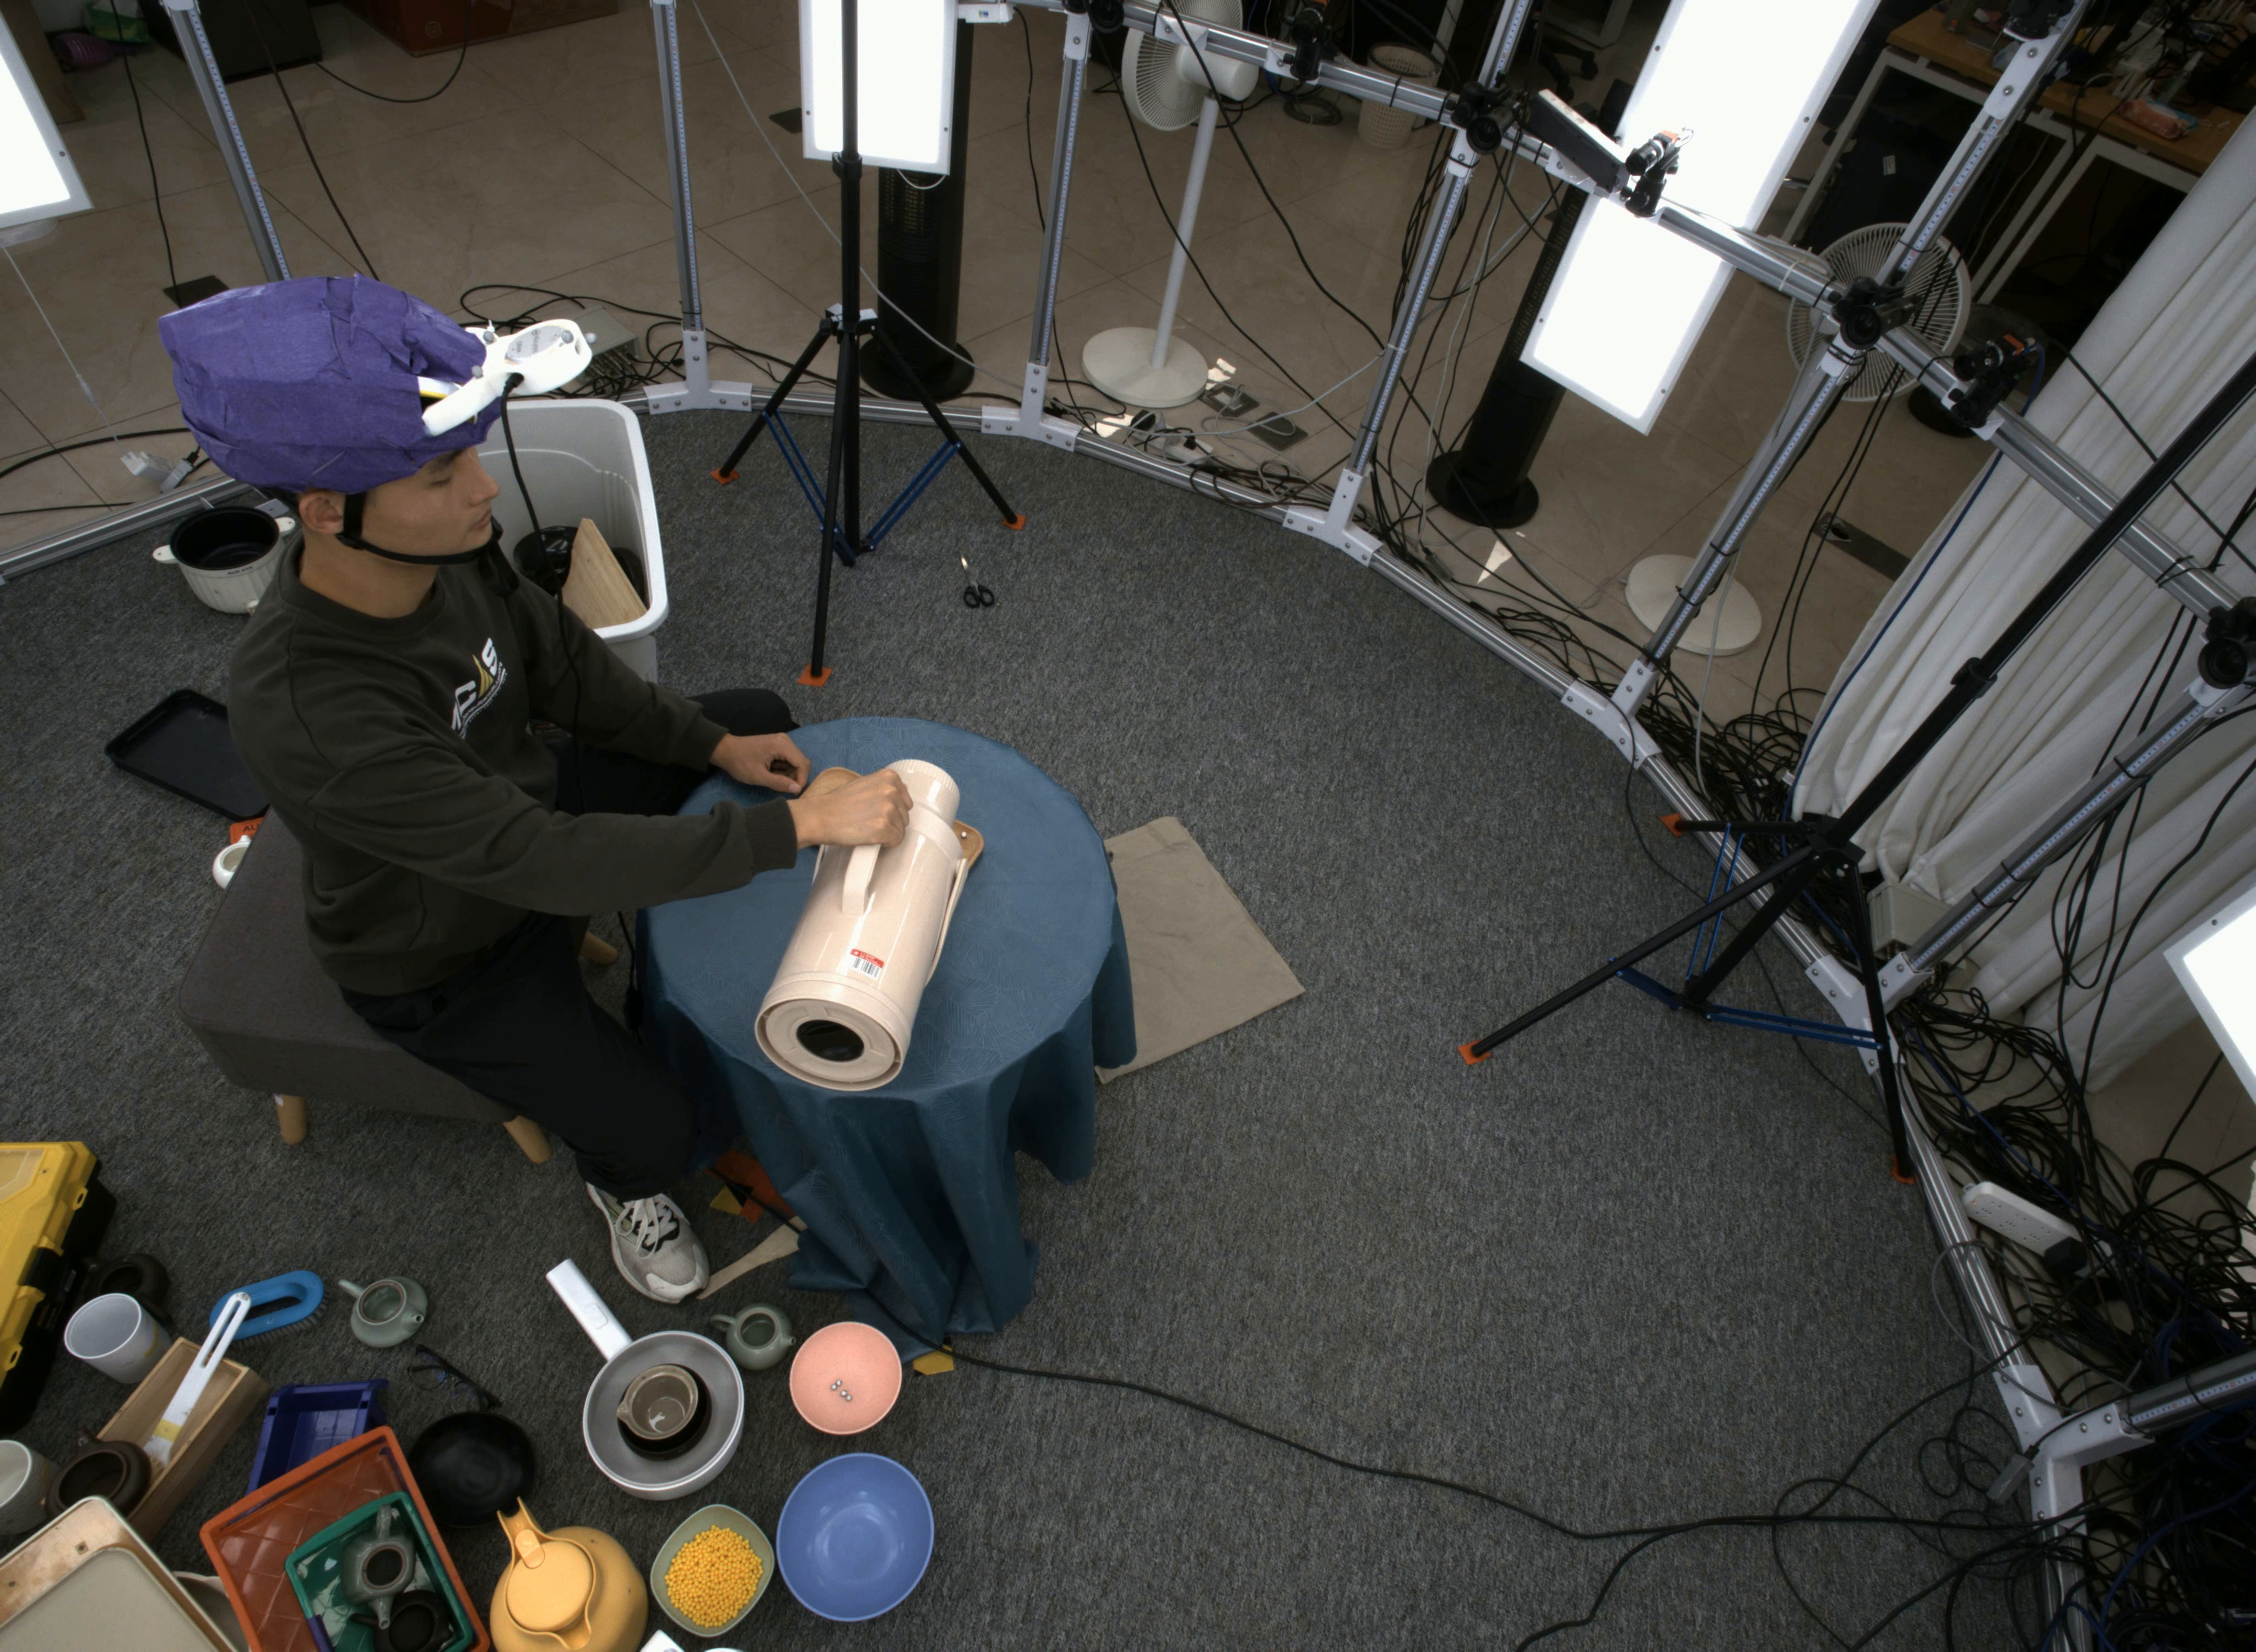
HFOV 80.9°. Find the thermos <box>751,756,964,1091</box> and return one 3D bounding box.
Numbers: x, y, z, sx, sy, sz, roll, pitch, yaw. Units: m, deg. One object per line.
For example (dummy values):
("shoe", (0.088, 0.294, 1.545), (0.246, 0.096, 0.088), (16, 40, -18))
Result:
("thermos", (-0.292, 0.080, 1.477), (0.173, 0.213, 0.400), (9, 45, 3))

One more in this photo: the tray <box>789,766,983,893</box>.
("tray", (-0.323, 0.008, 1.743), (0.247, 0.023, 0.130), (25, 50, 7))
